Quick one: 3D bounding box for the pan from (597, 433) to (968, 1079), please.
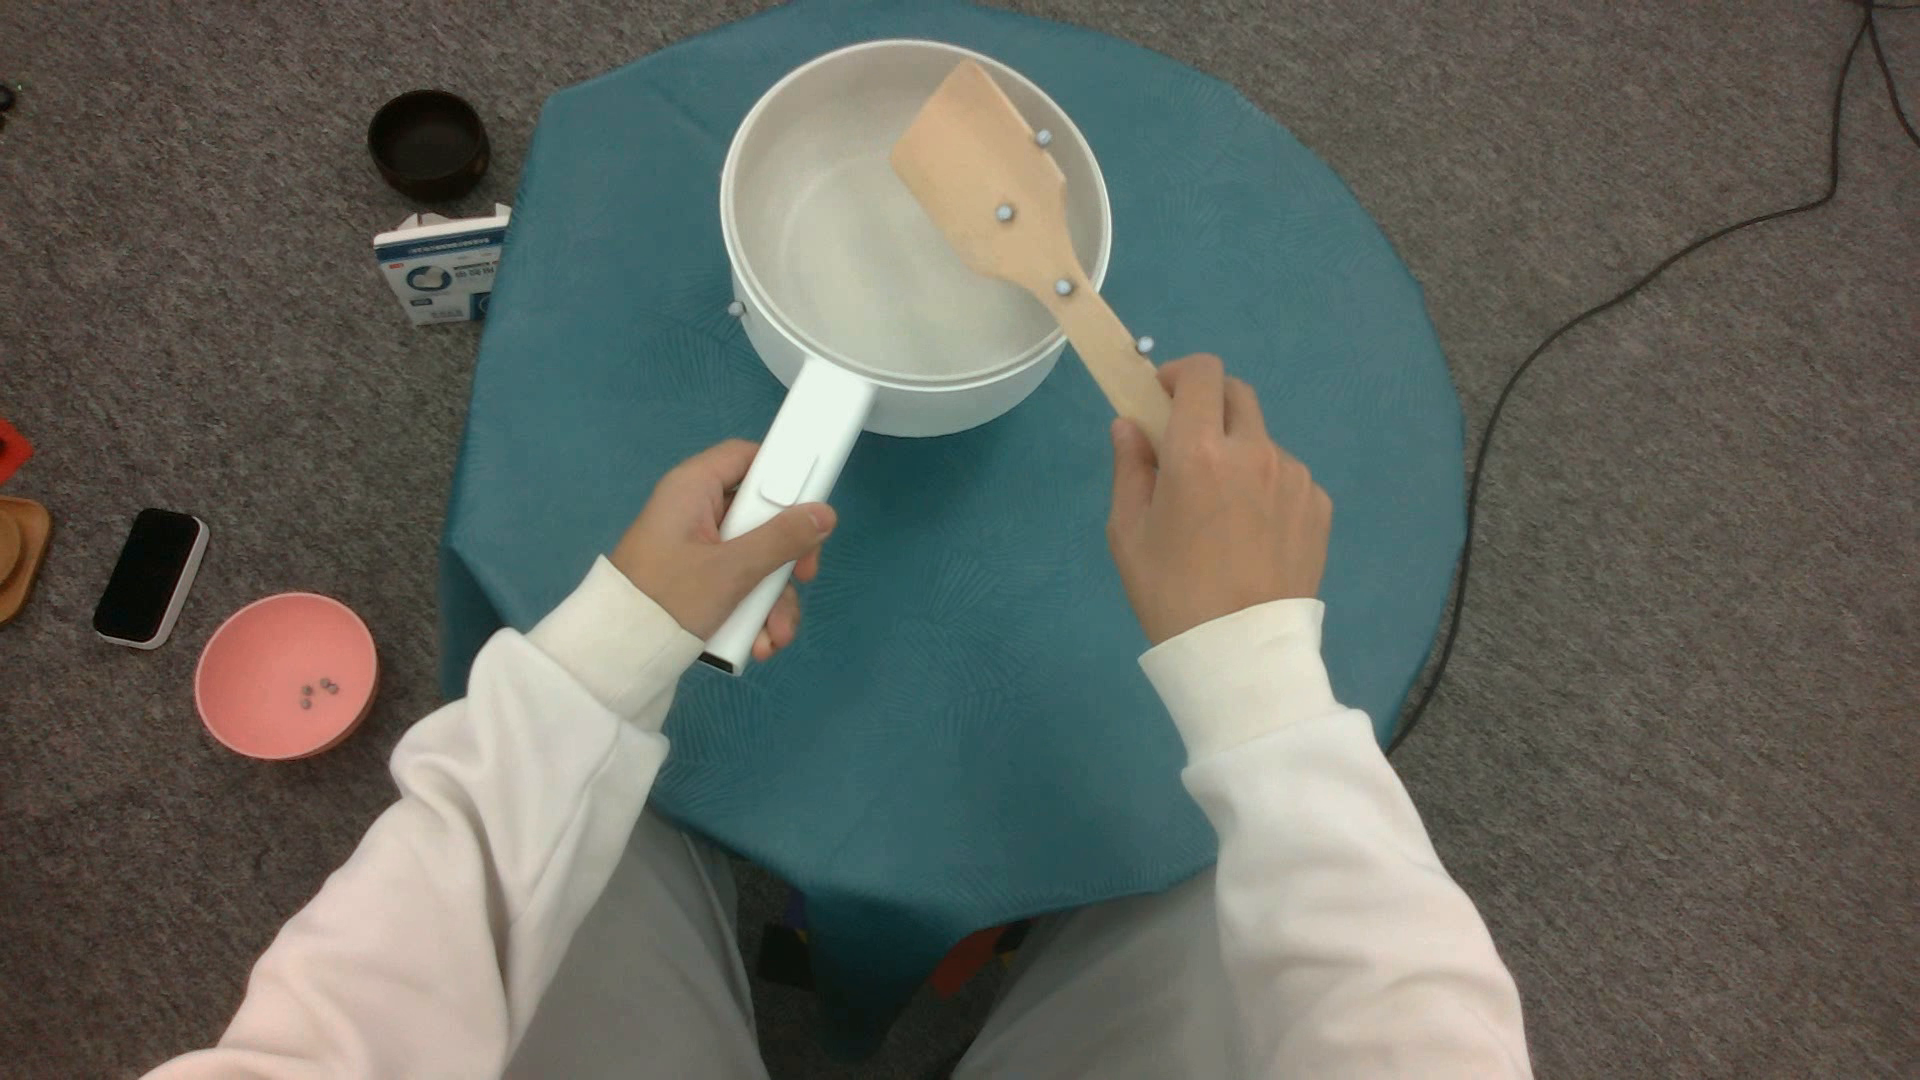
[{"bbox_3d":[-0.107,0.110,0.747,0.201,0.101,0.356,7,57,0],"label":"pan"}]

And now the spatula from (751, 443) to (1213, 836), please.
[{"bbox_3d":[0.006,0.050,0.691,0.293,0.072,0.011,36,20,26],"label":"spatula"}]
